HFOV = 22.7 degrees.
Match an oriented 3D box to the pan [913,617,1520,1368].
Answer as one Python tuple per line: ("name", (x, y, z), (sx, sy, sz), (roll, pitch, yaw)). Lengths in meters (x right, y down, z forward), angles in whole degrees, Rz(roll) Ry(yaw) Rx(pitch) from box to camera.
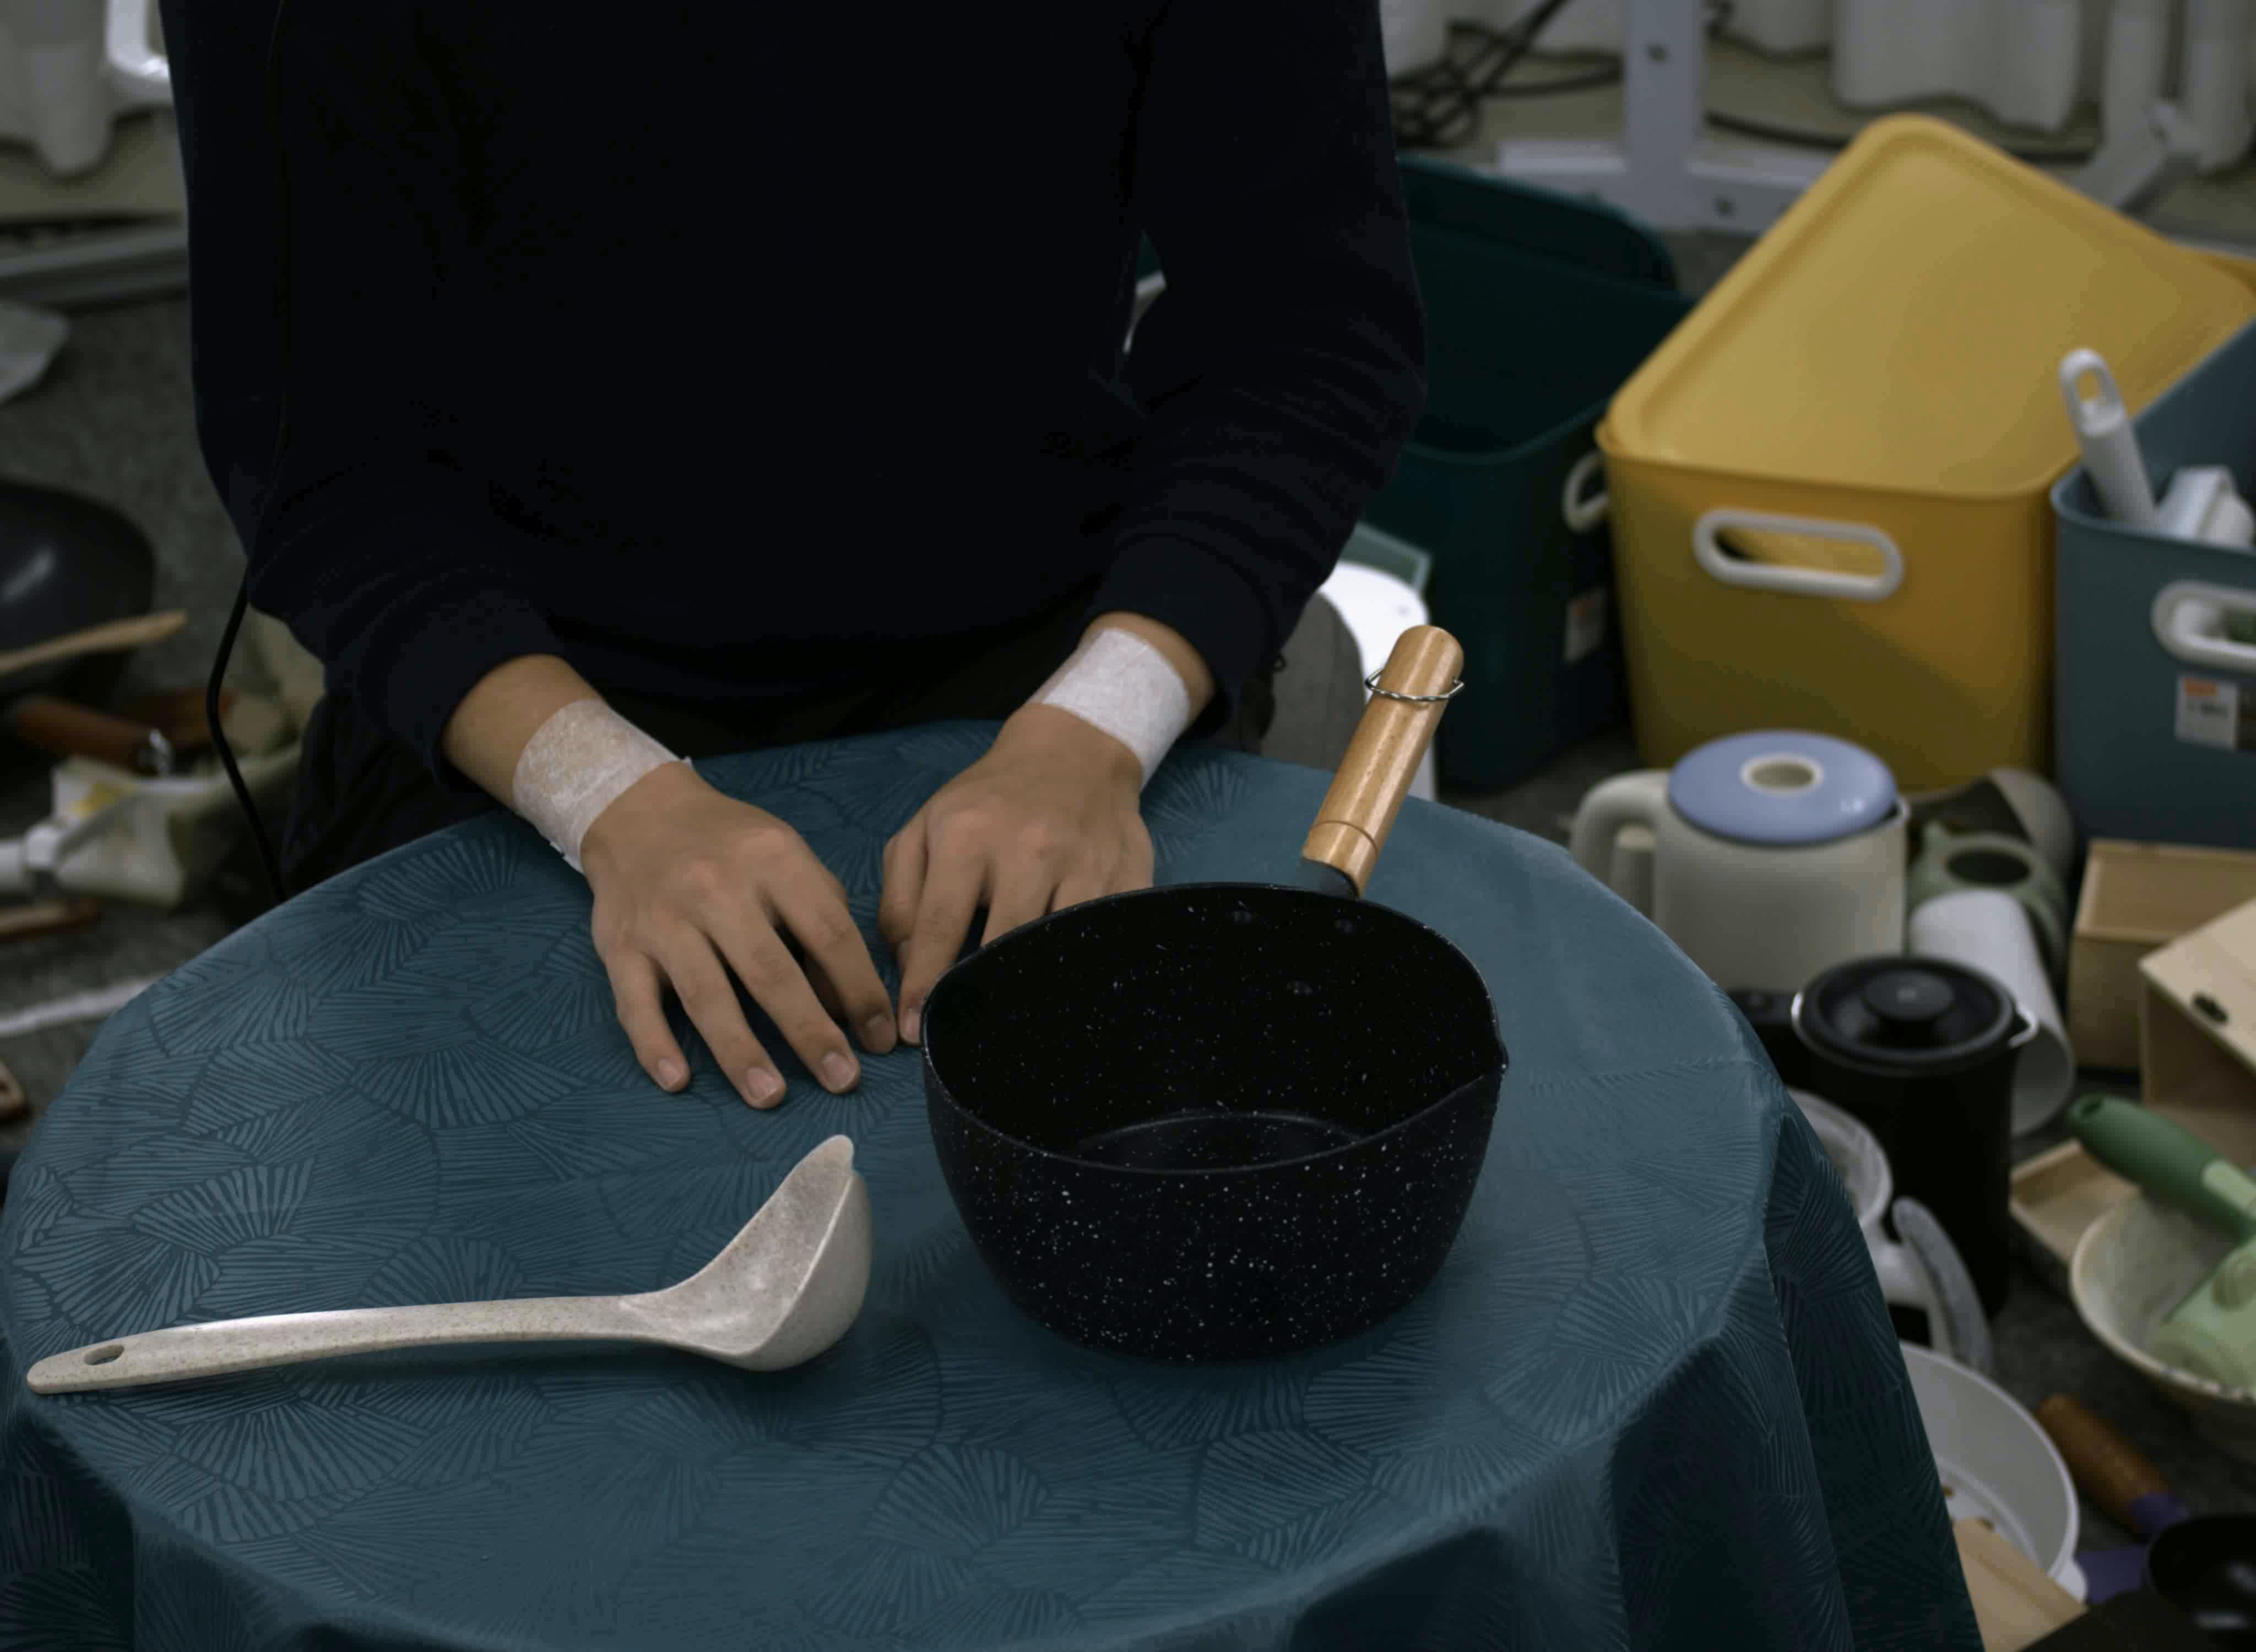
("pan", (0.052, 0.052, 1.875), (0.206, 0.107, 0.349), (5, 30, 18))

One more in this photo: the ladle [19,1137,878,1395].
("ladle", (-0.215, 0.142, 1.771), (0.273, 0.068, 0.091), (-3, 32, 0))
